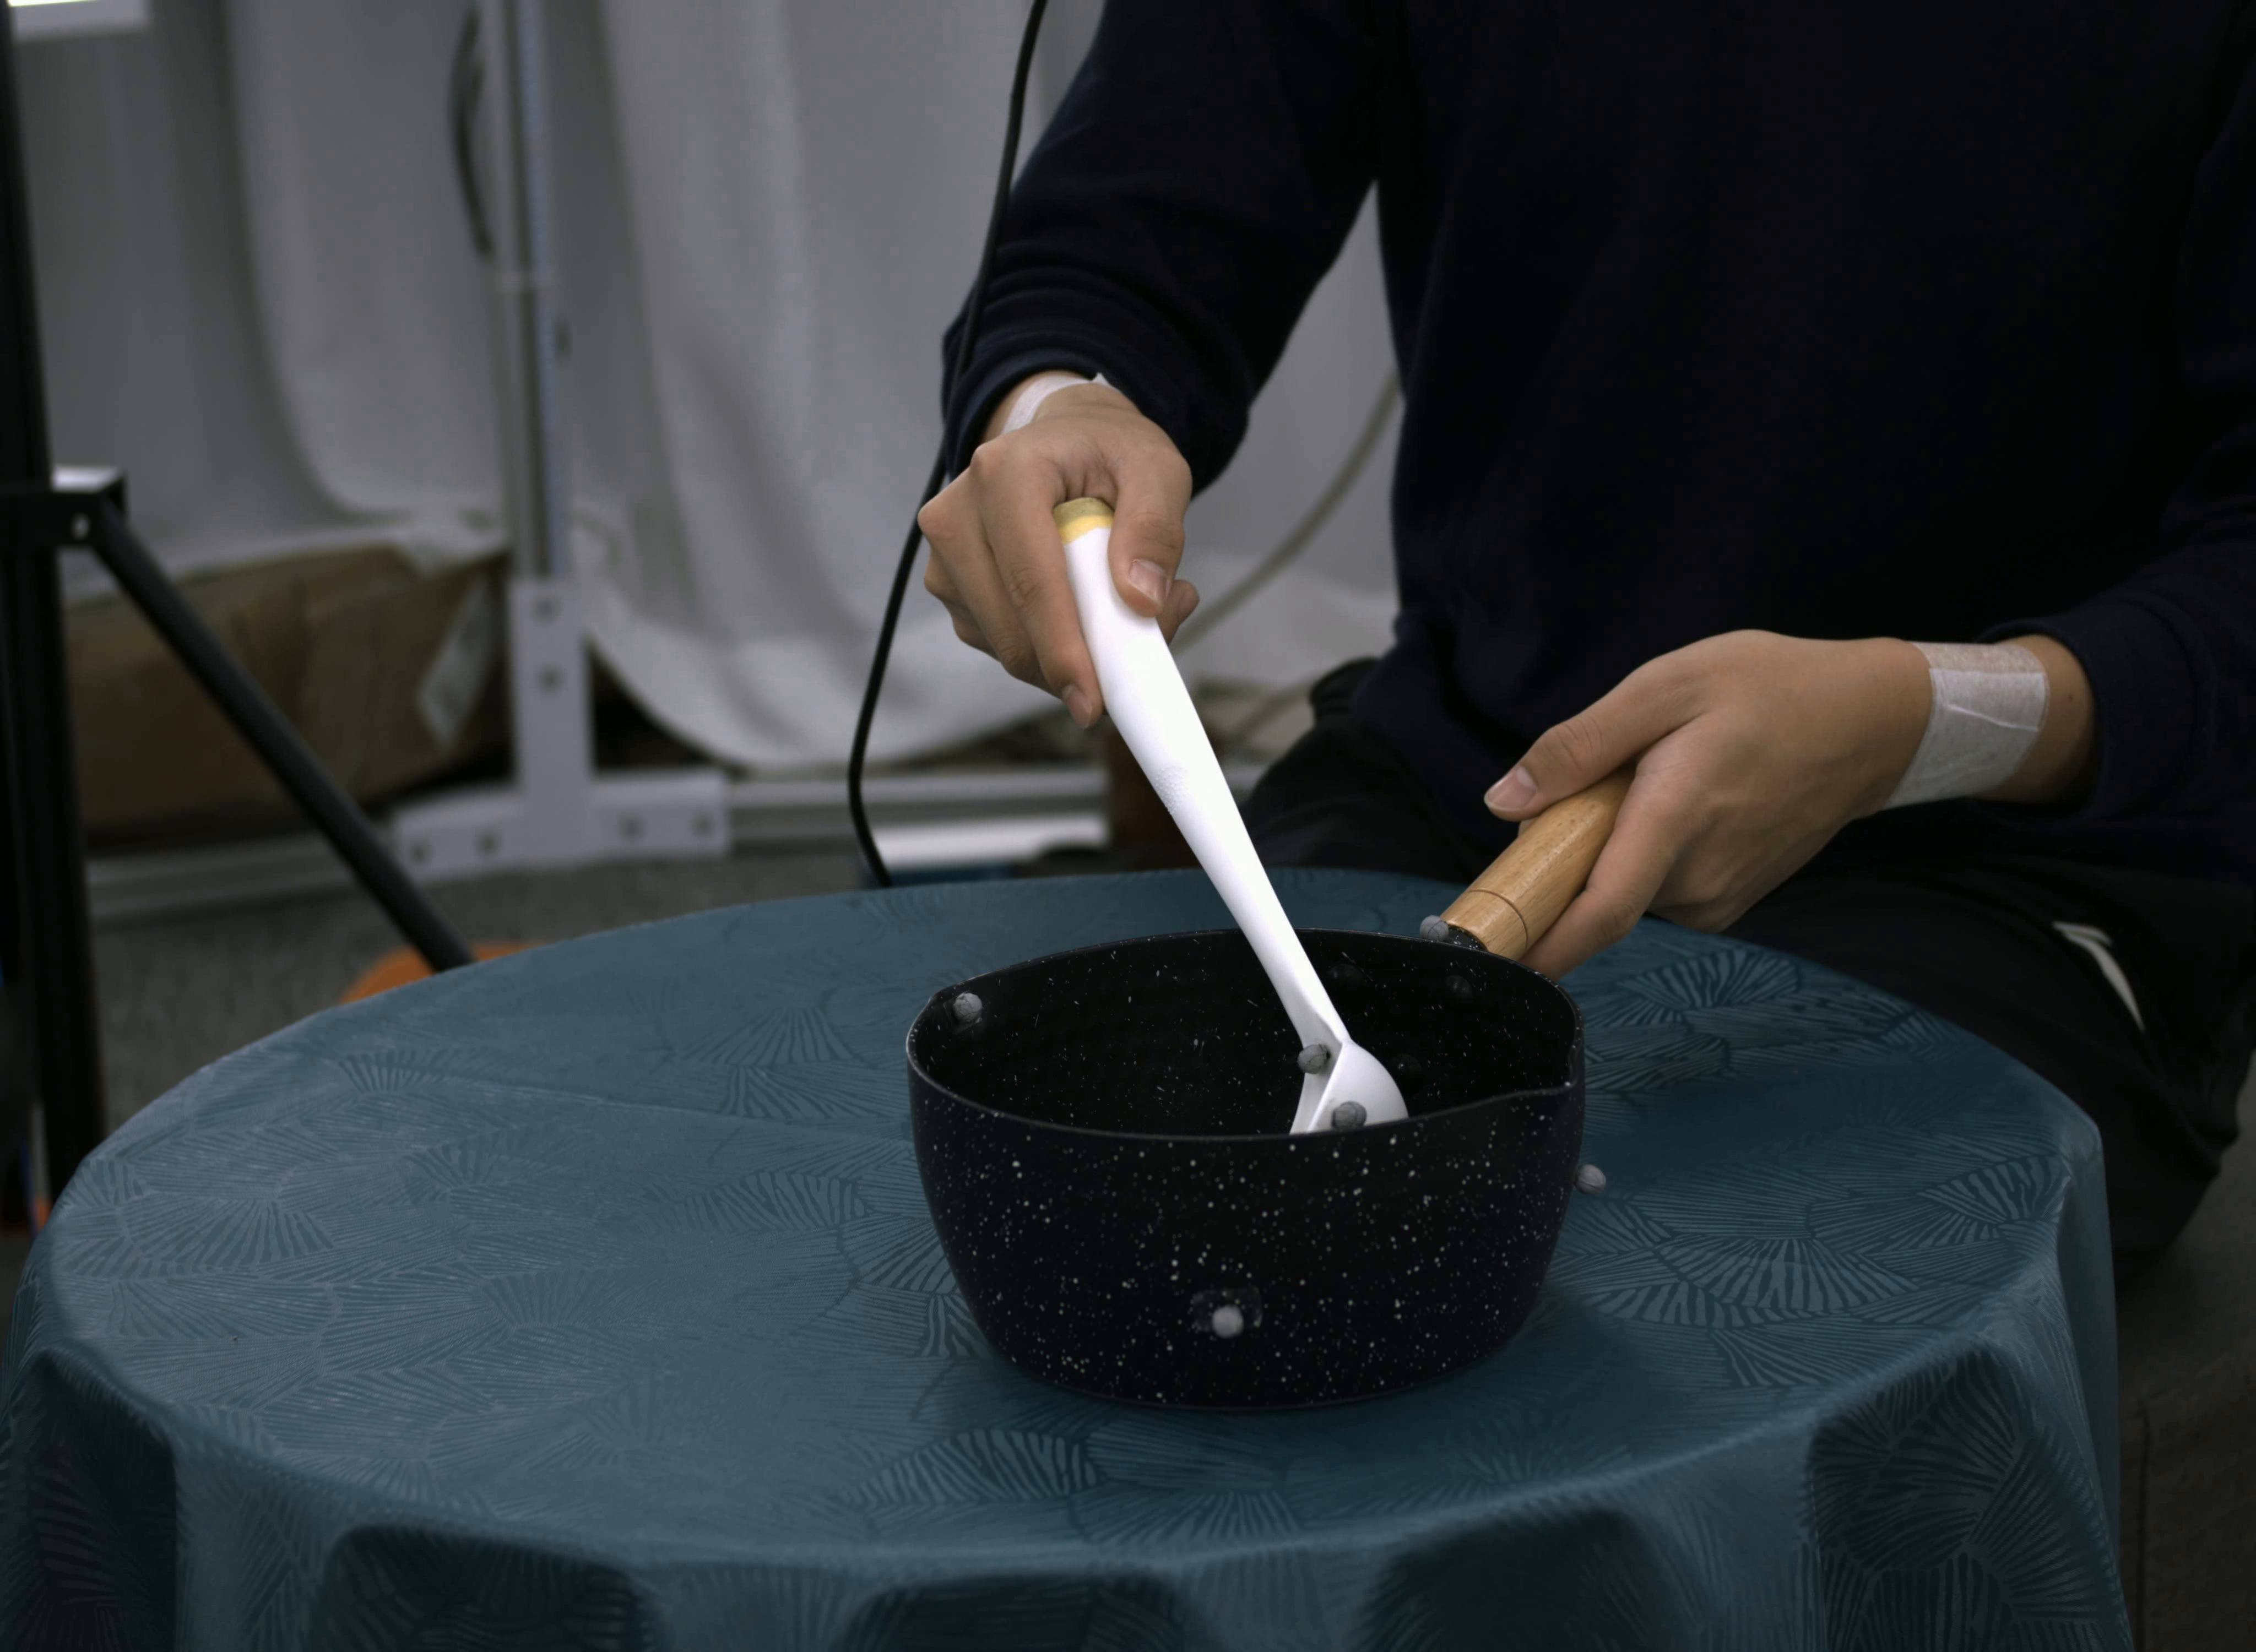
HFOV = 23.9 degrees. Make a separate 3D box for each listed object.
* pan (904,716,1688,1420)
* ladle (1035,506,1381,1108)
[{"bbox_3d":[0.073,0.063,1.505,0.211,0.108,0.336,6,19,31],"label":"pan"},{"bbox_3d":[0.012,0.021,1.518,0.068,0.090,0.298,-5,48,-20],"label":"ladle"}]
